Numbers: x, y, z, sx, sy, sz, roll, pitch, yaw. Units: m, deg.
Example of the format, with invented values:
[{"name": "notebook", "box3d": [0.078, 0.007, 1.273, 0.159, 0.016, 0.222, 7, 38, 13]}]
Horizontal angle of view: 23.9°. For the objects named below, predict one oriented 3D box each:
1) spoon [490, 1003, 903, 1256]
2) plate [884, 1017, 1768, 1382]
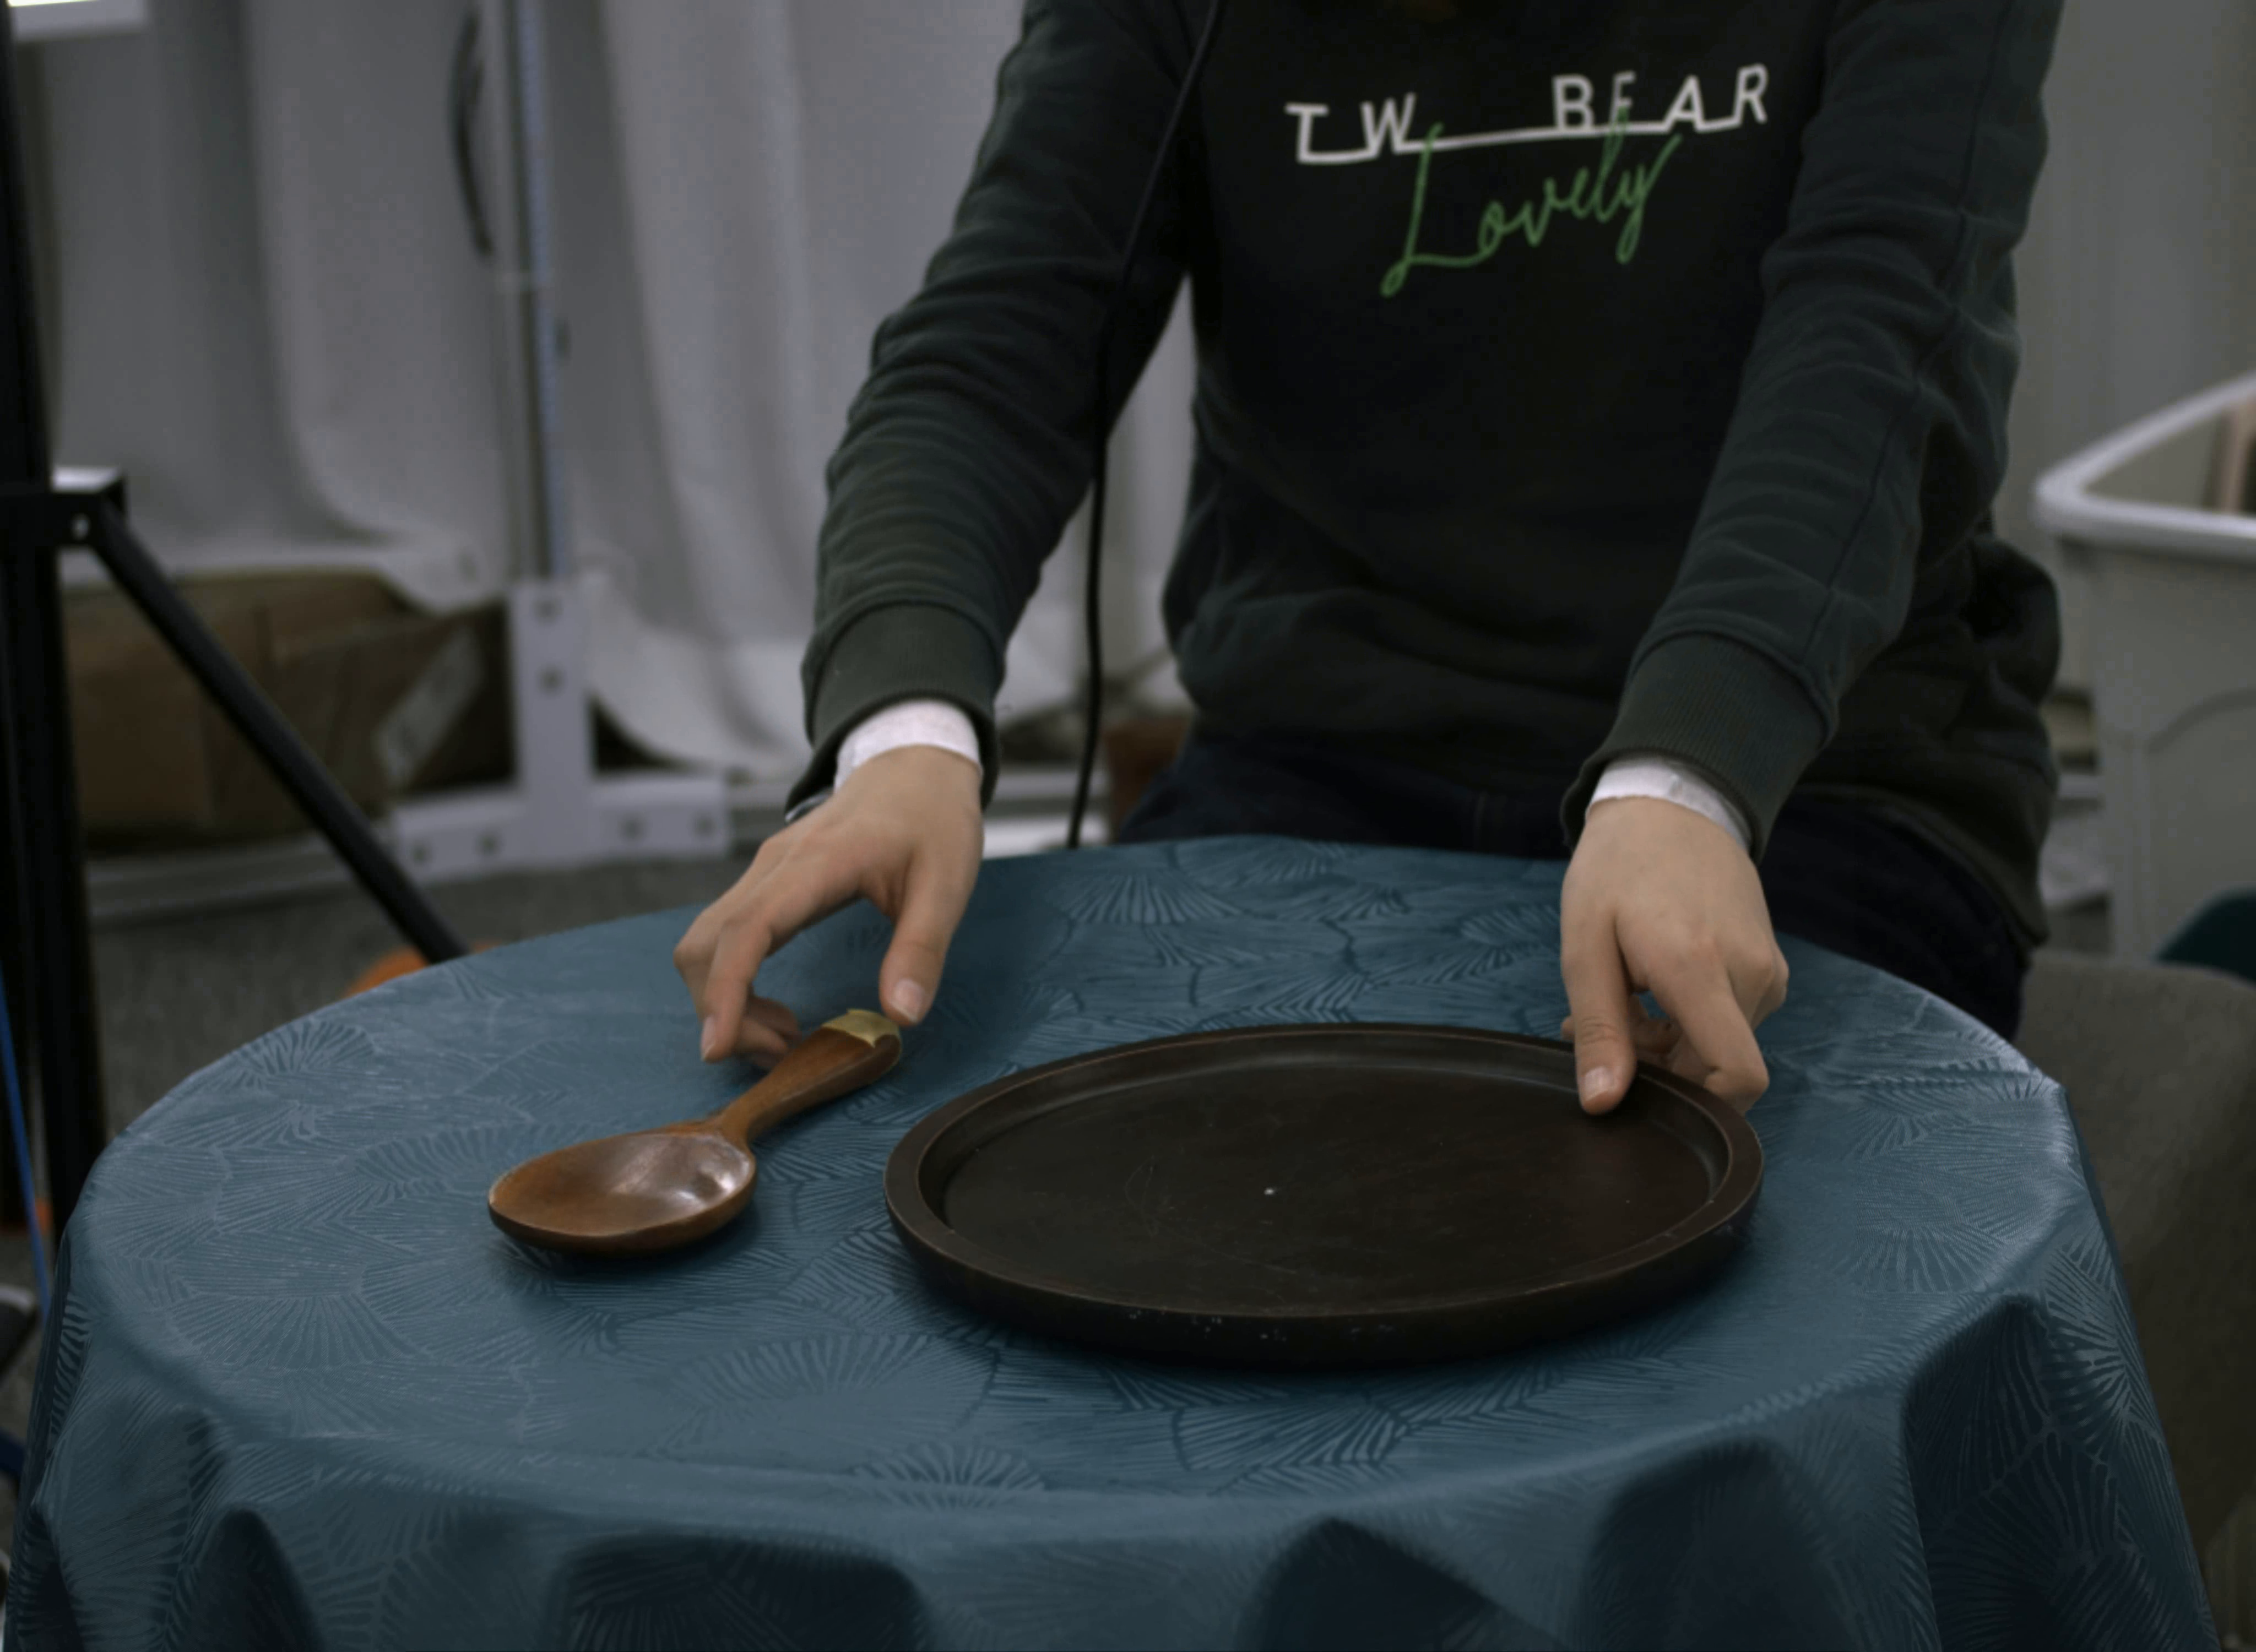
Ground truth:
[{"name": "spoon", "box3d": [-0.120, 0.092, 1.602, 0.076, 0.017, 0.213, 4, 17, 23]}, {"name": "plate", "box3d": [0.057, 0.106, 1.518, 0.253, 0.029, 0.256, -2, 17, -1]}]
